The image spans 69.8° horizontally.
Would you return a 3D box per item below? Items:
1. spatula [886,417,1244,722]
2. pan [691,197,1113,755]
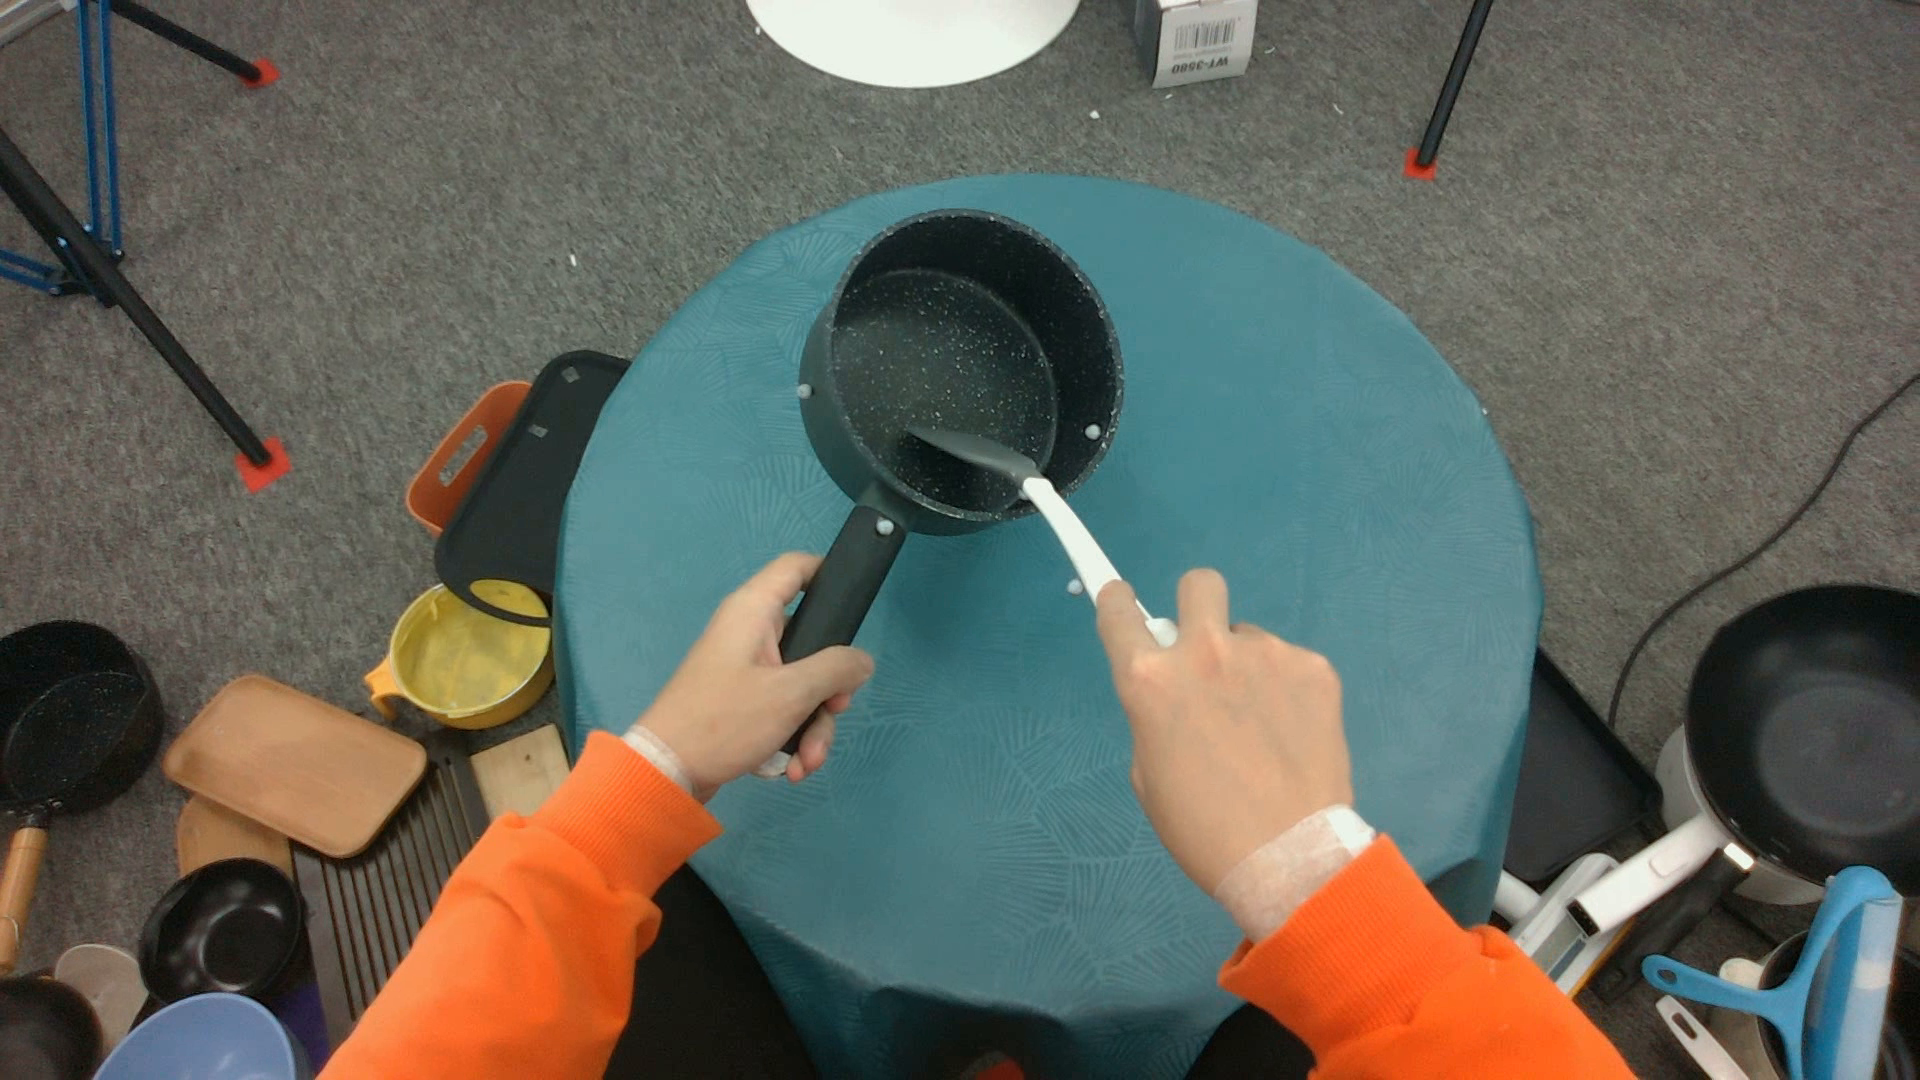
[{"bbox_3d":[0.043,-0.006,0.676,0.059,0.032,0.288,1,28,-30],"label":"spatula"},{"bbox_3d":[-0.045,-0.030,0.727,0.172,0.086,0.330,35,67,-11],"label":"pan"}]
